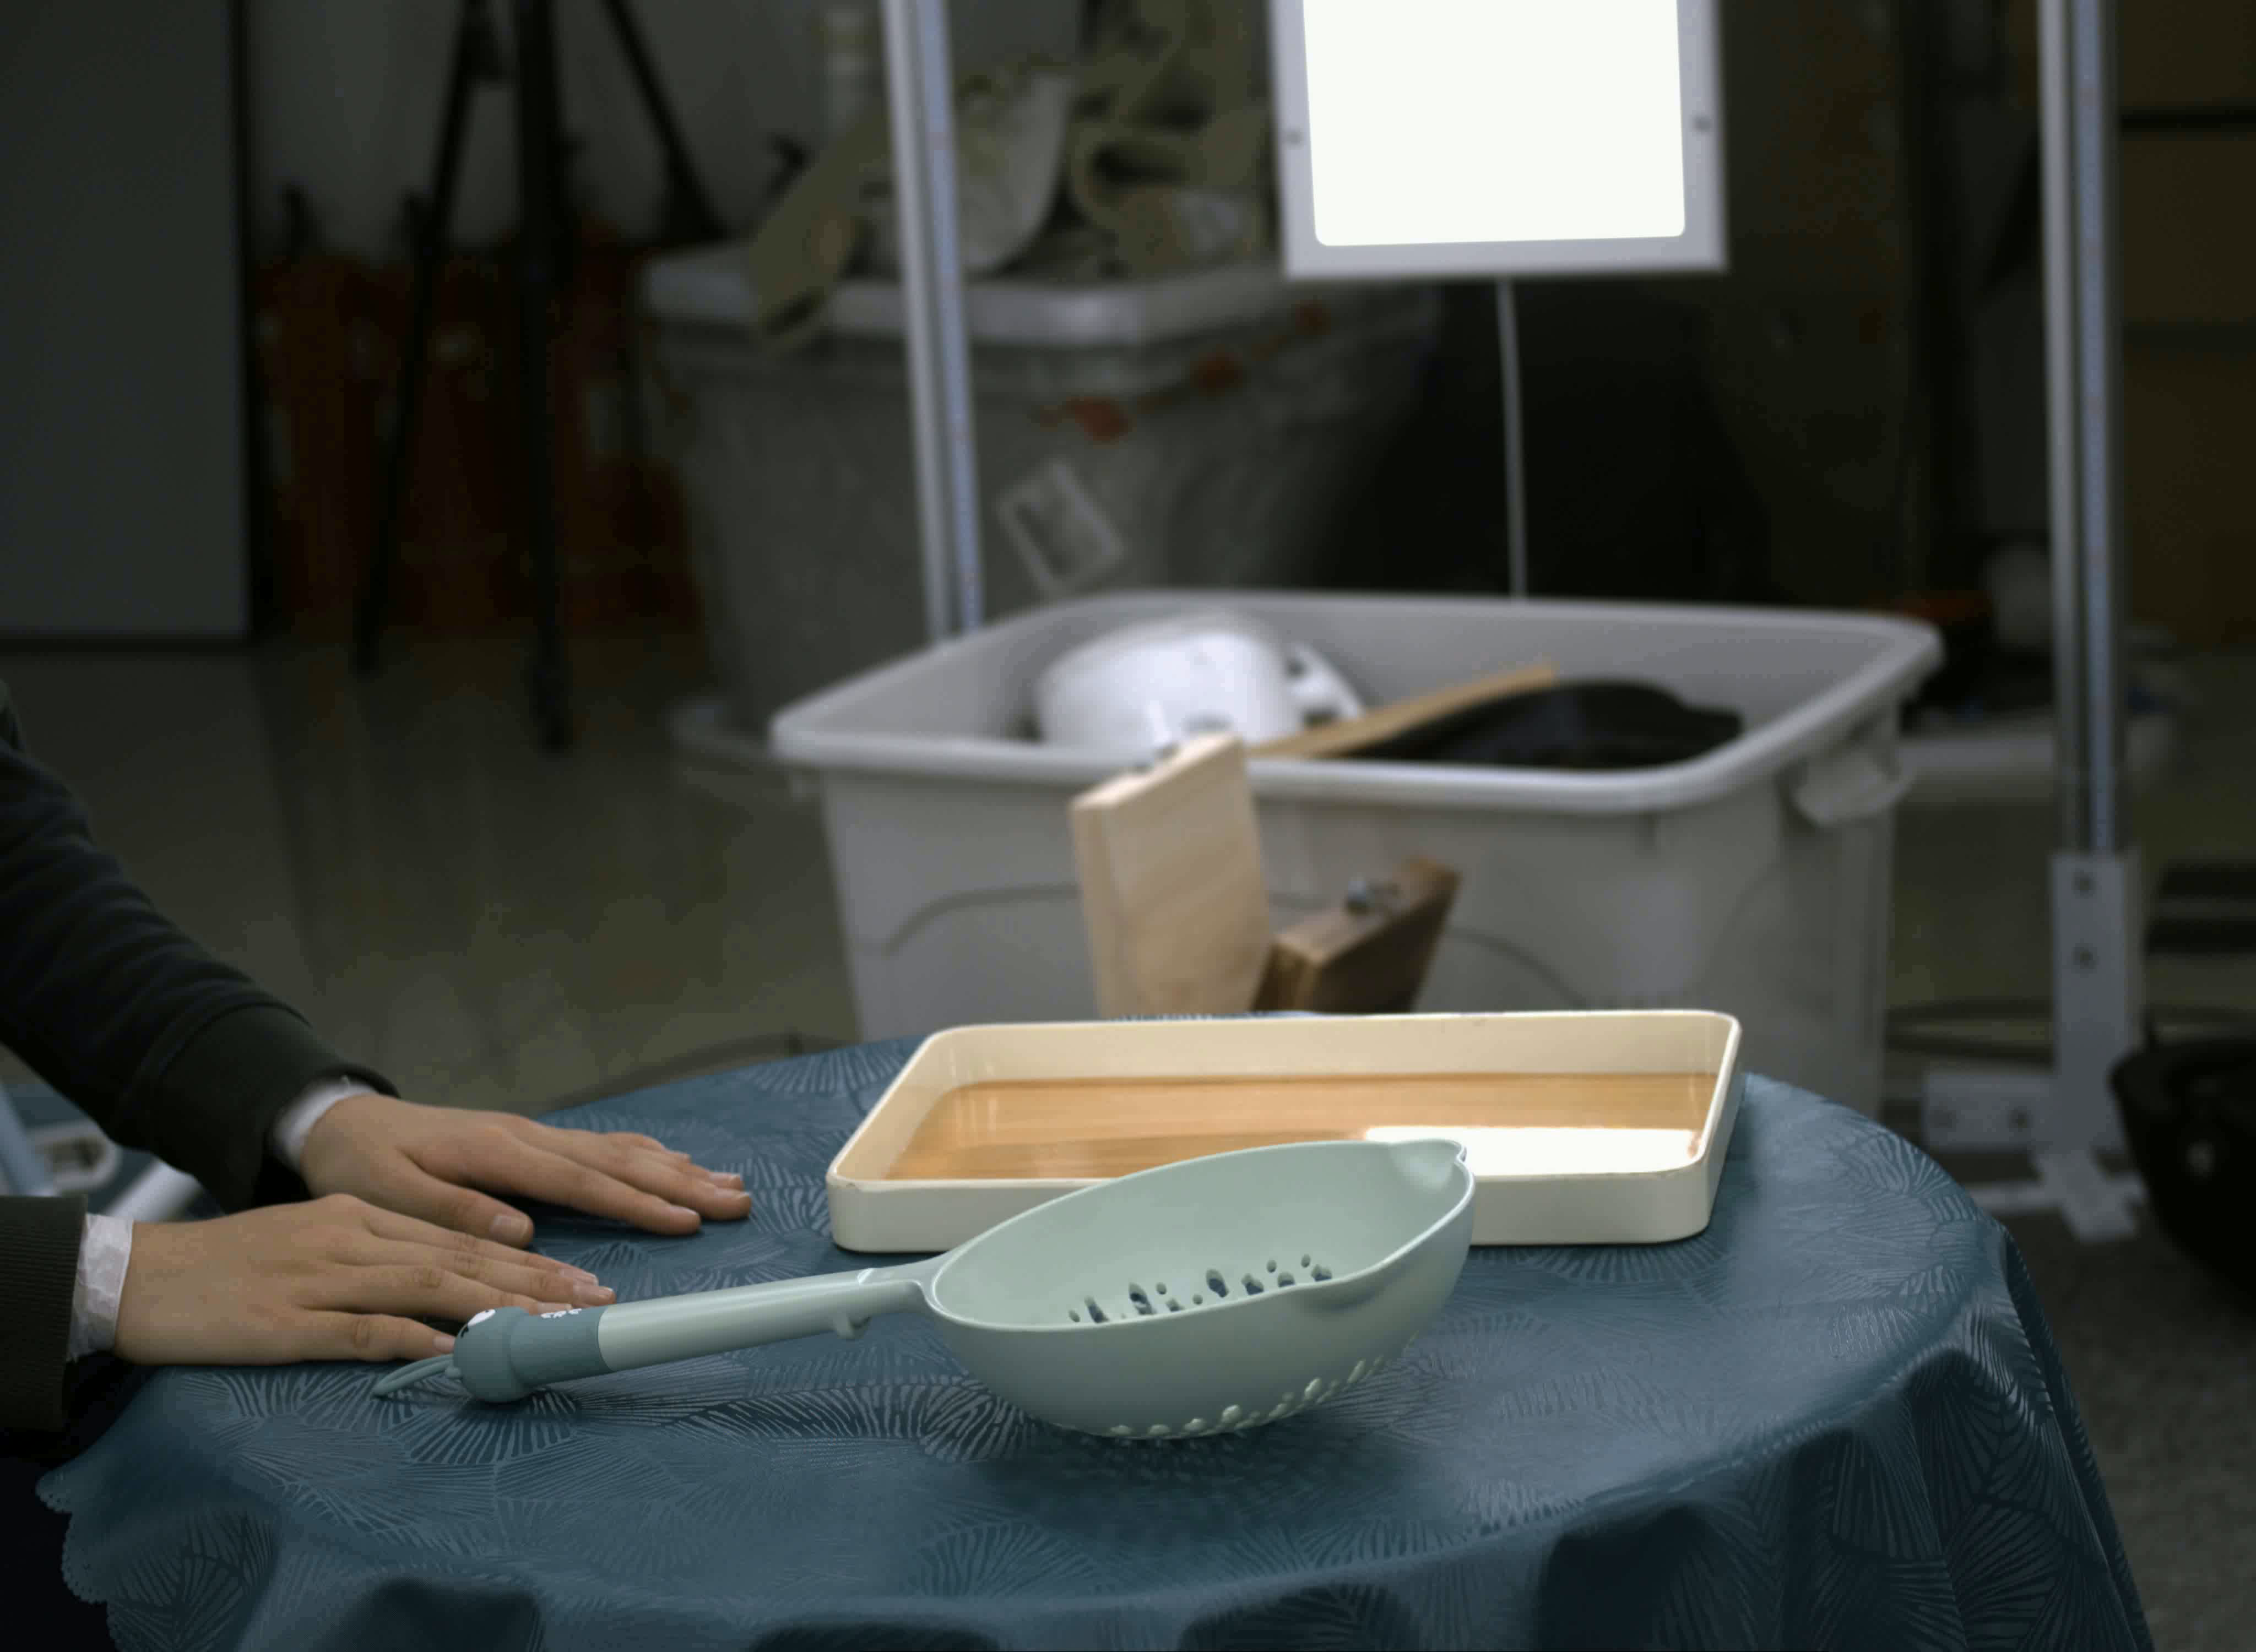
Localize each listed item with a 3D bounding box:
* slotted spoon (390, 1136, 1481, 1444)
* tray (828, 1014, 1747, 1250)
[{"bbox_3d":[-0.066,0.148,1.698,0.363,0.075,0.167,-1,14,18],"label":"slotted spoon"},{"bbox_3d":[0.060,0.105,1.908,0.303,0.027,0.189,-1,14,13],"label":"tray"}]
